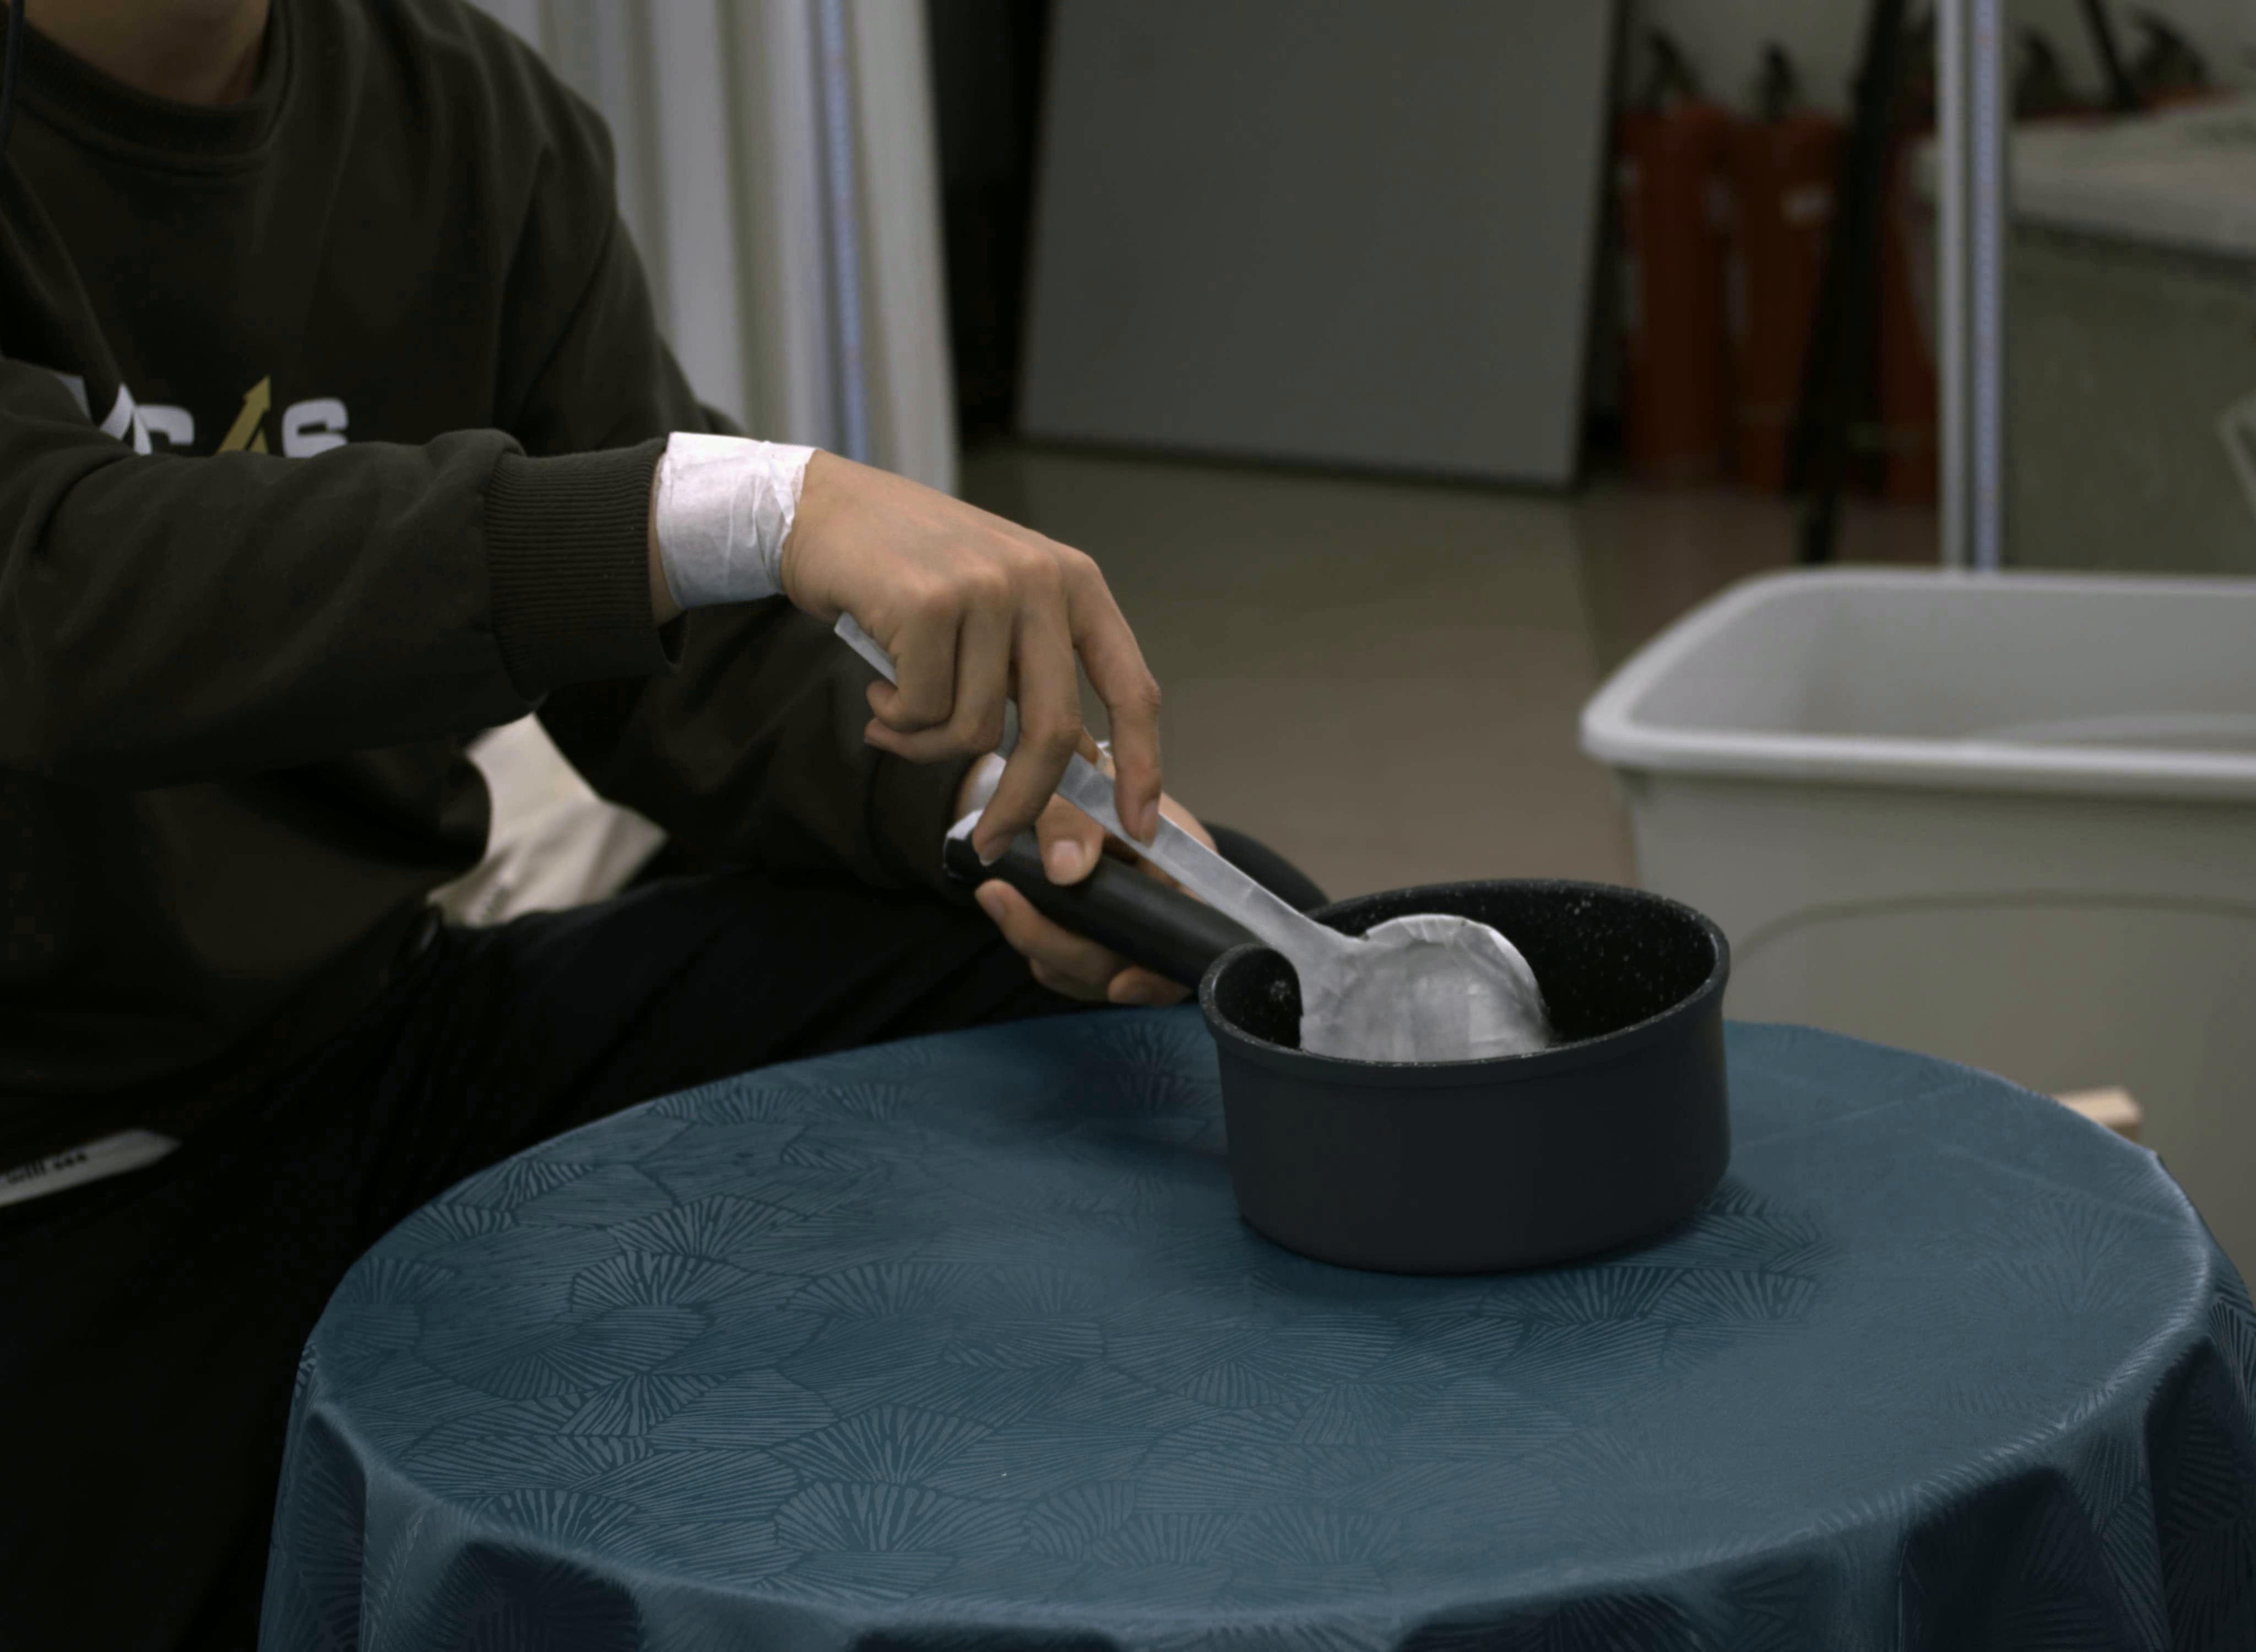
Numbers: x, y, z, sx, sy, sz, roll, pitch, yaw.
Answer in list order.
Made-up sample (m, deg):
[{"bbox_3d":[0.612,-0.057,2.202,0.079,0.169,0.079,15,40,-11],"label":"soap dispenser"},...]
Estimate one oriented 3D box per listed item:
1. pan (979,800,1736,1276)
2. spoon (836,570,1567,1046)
[{"bbox_3d":[0.061,0.063,1.787,0.168,0.087,0.332,-18,21,-35],"label":"pan"},{"bbox_3d":[0.022,0.006,1.708,0.275,0.101,0.059,38,4,-9],"label":"spoon"}]
